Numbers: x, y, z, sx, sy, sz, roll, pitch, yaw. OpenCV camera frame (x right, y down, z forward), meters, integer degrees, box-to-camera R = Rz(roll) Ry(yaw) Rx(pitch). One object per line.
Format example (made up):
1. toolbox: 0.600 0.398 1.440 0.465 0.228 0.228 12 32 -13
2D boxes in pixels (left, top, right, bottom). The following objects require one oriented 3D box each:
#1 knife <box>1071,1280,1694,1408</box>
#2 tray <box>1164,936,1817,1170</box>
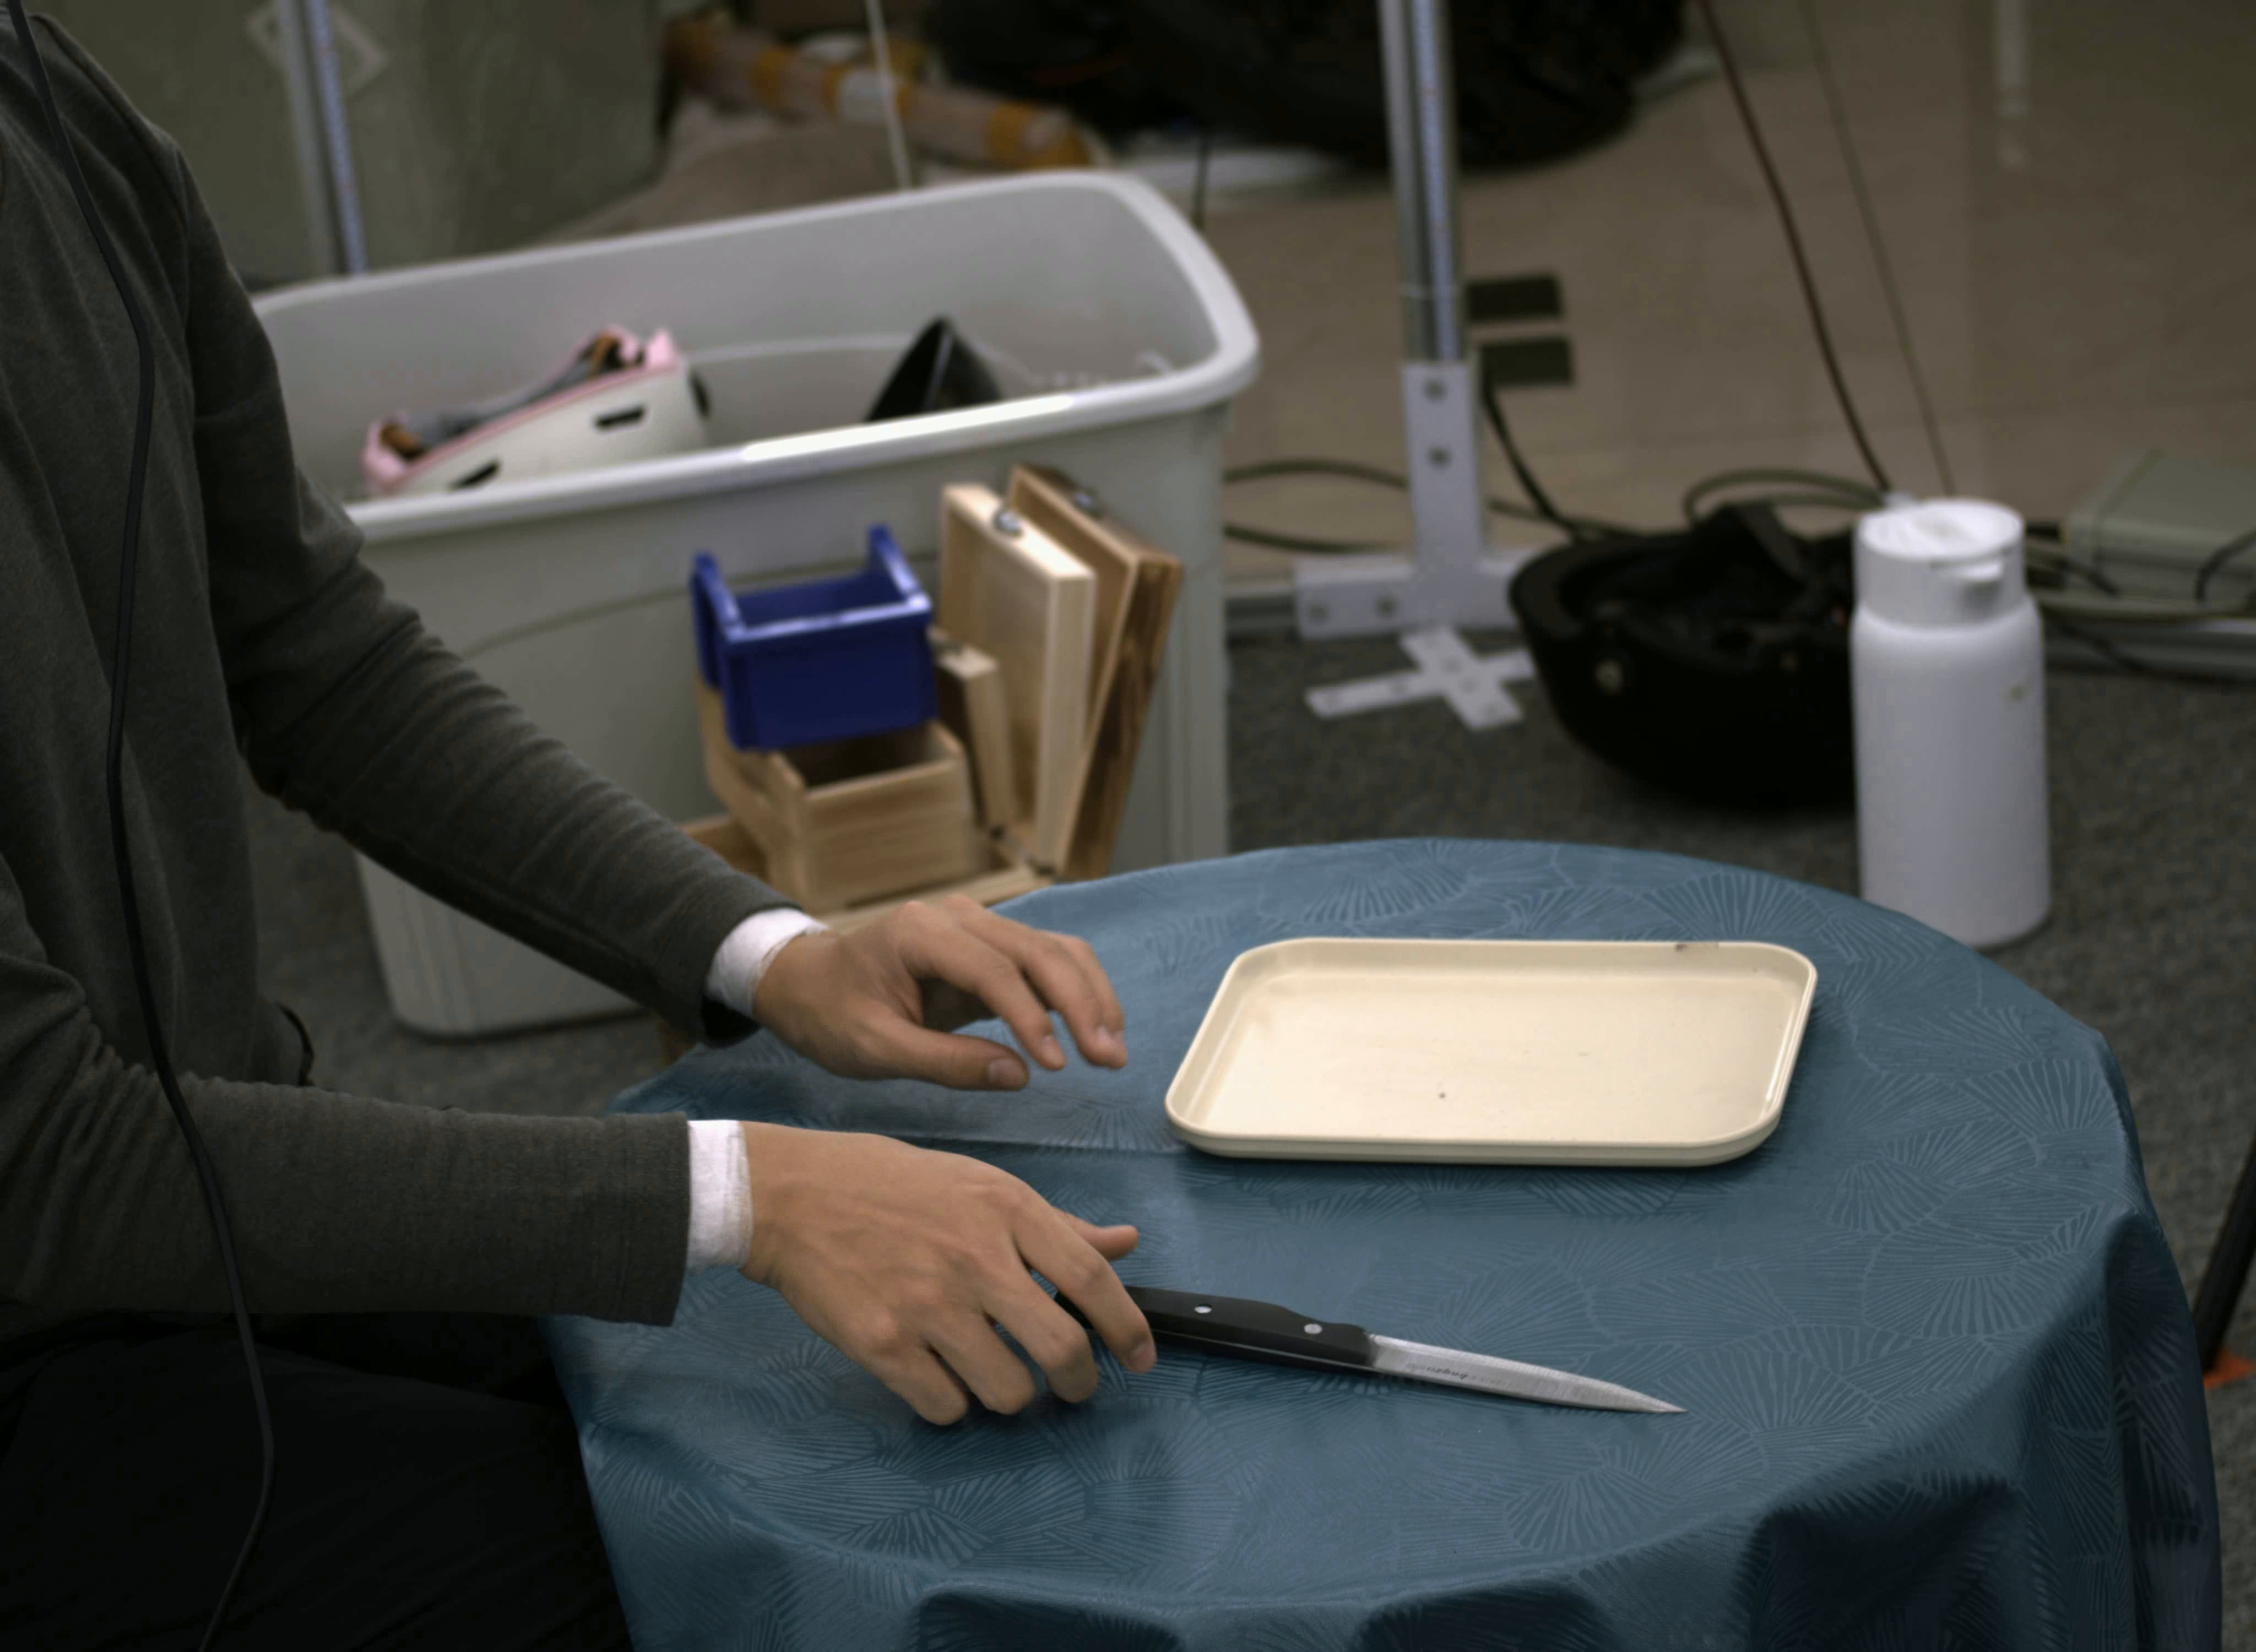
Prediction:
1. knife: 0.086 0.187 2.013 0.237 0.016 0.024 8 31 22
2. tray: 0.142 0.088 2.204 0.239 0.018 0.169 0 27 15
